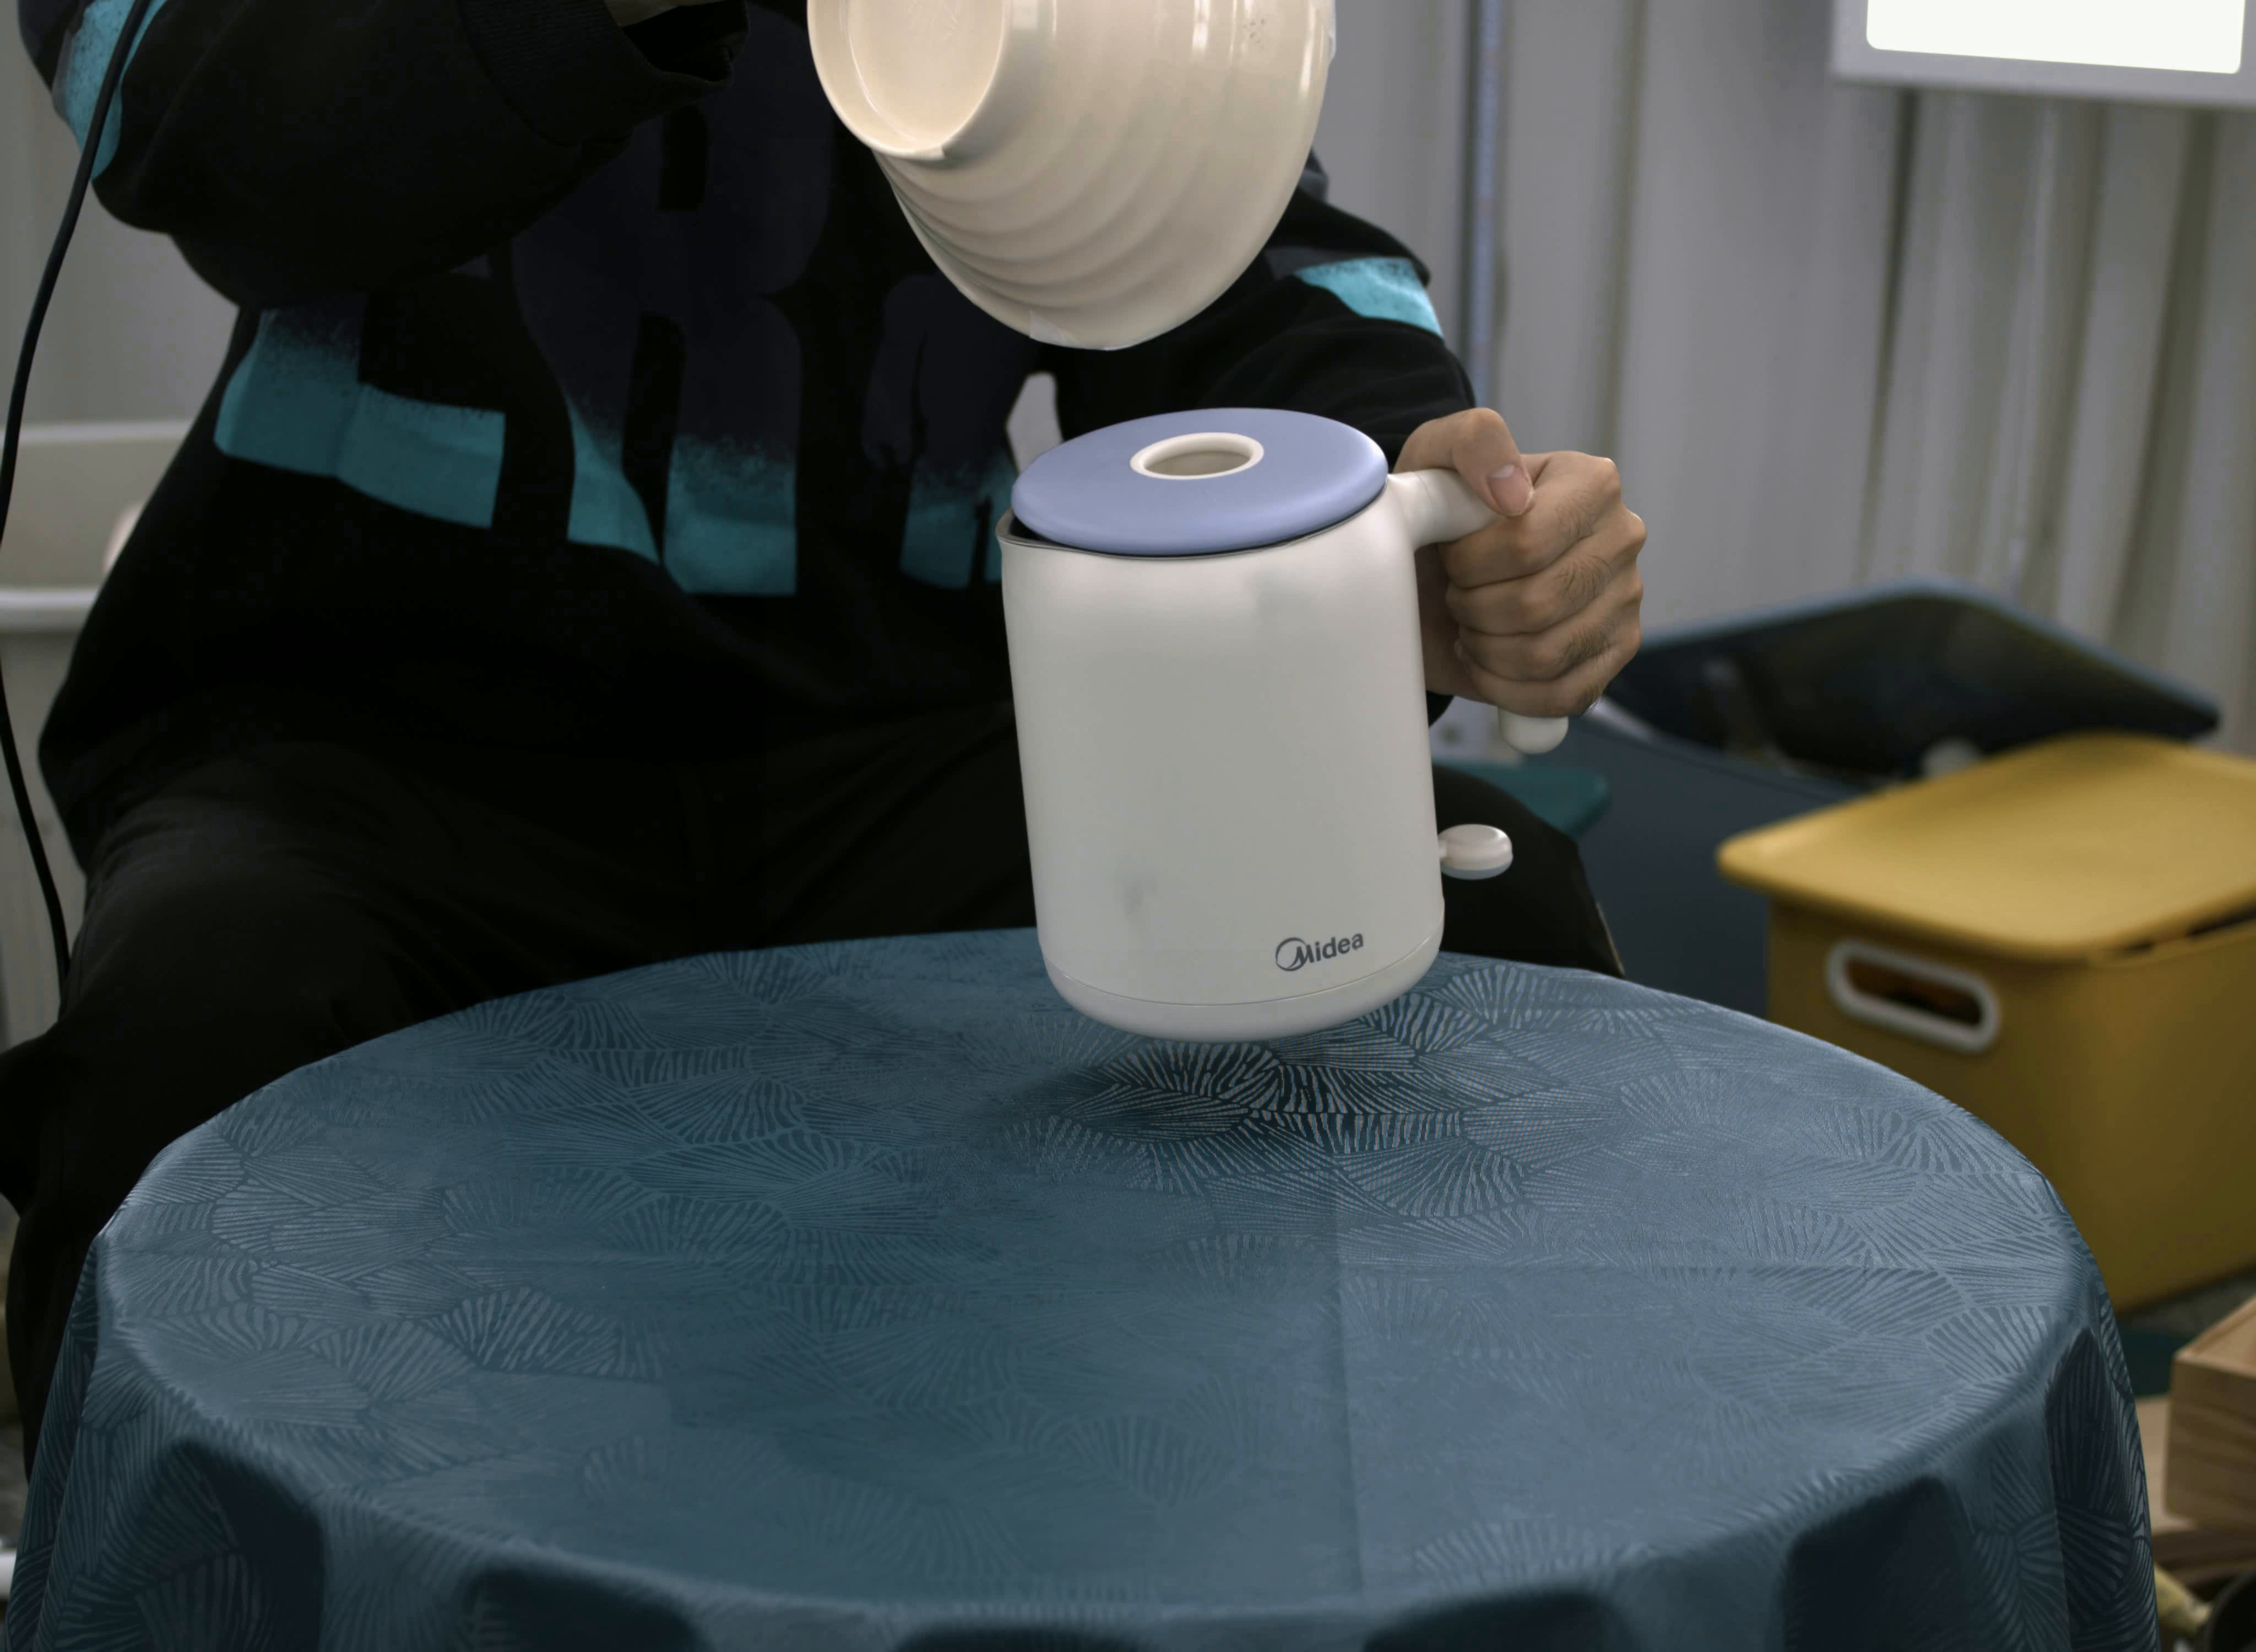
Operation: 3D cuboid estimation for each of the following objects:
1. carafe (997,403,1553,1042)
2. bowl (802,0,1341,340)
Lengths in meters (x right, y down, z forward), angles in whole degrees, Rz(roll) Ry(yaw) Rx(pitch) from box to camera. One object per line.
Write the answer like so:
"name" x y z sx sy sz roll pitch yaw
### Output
"carafe" 0.051 -0.038 1.677 0.191 0.184 0.130 -12 25 -22
"bowl" -0.038 -0.245 1.548 0.201 0.205 0.078 14 15 39
